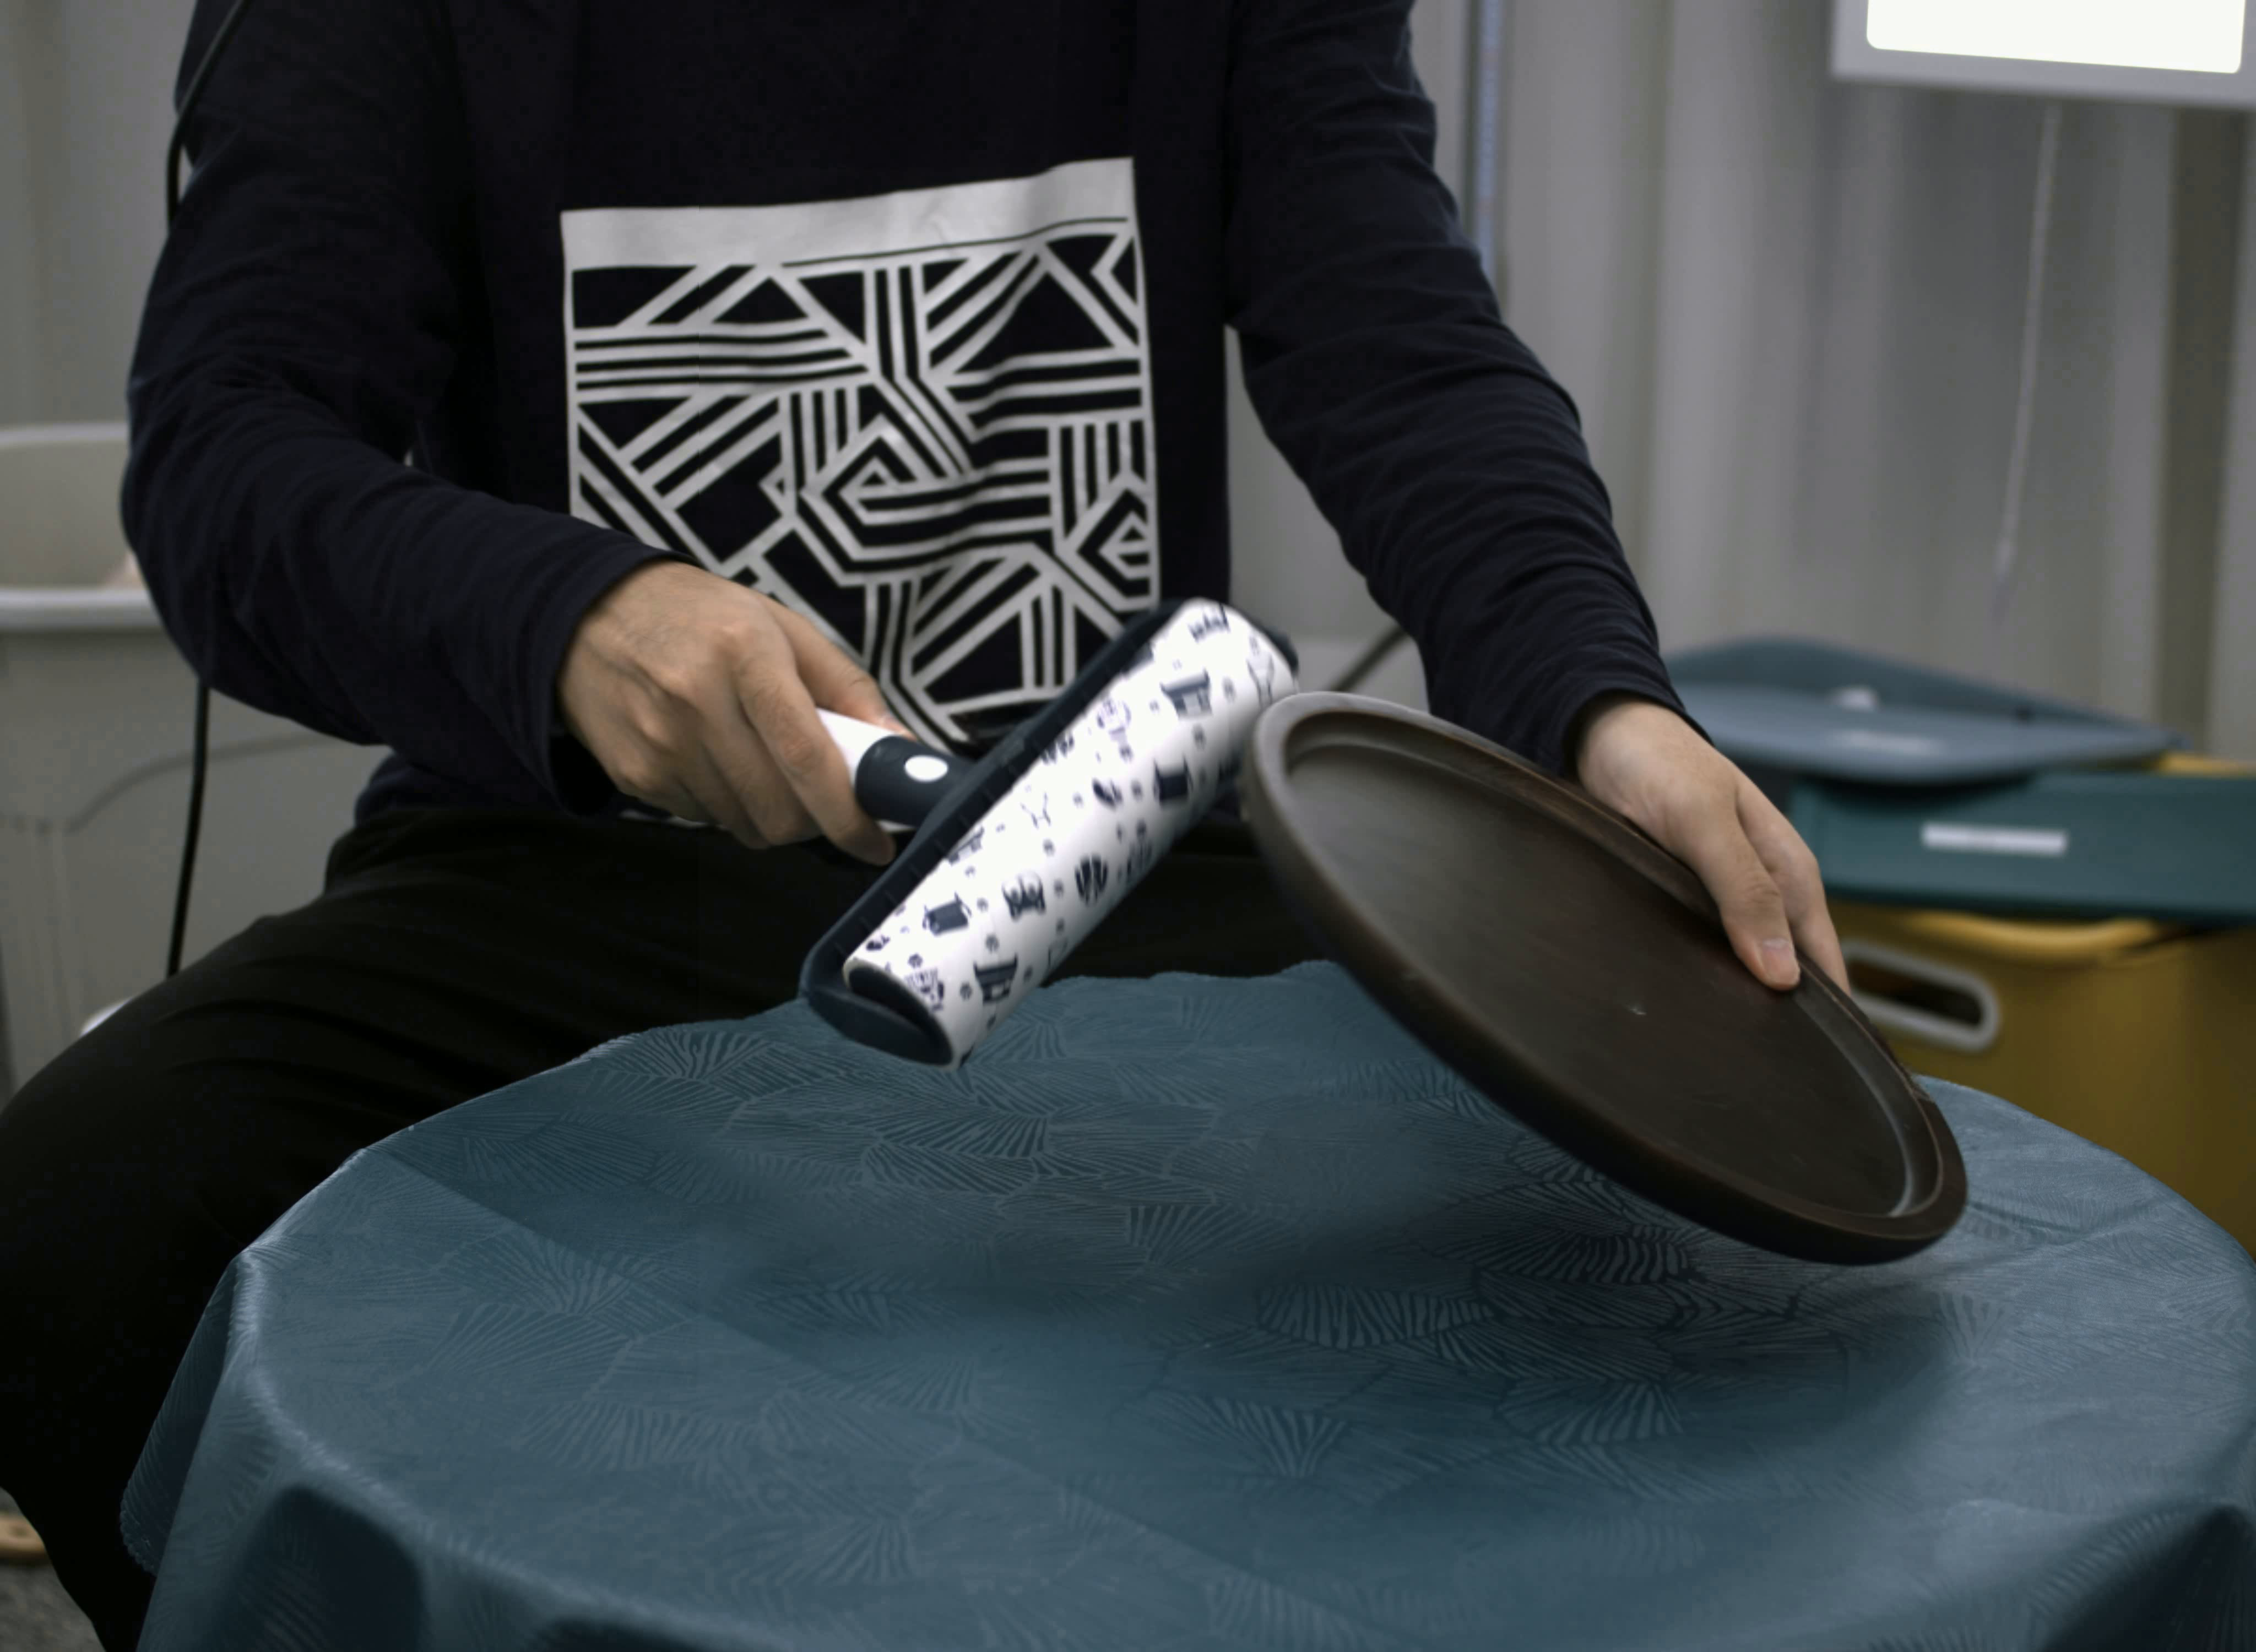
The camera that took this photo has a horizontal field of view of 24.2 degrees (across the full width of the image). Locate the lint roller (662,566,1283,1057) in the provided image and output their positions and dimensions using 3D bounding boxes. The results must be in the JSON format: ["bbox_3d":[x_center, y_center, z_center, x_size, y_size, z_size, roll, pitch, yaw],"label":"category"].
[{"bbox_3d":[-0.080,-0.018,1.635,0.244,0.051,0.176,13,57,50],"label":"lint roller"}]

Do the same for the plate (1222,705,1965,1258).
[{"bbox_3d":[0.135,0.045,1.548,0.255,0.029,0.253,30,18,-11],"label":"plate"}]
